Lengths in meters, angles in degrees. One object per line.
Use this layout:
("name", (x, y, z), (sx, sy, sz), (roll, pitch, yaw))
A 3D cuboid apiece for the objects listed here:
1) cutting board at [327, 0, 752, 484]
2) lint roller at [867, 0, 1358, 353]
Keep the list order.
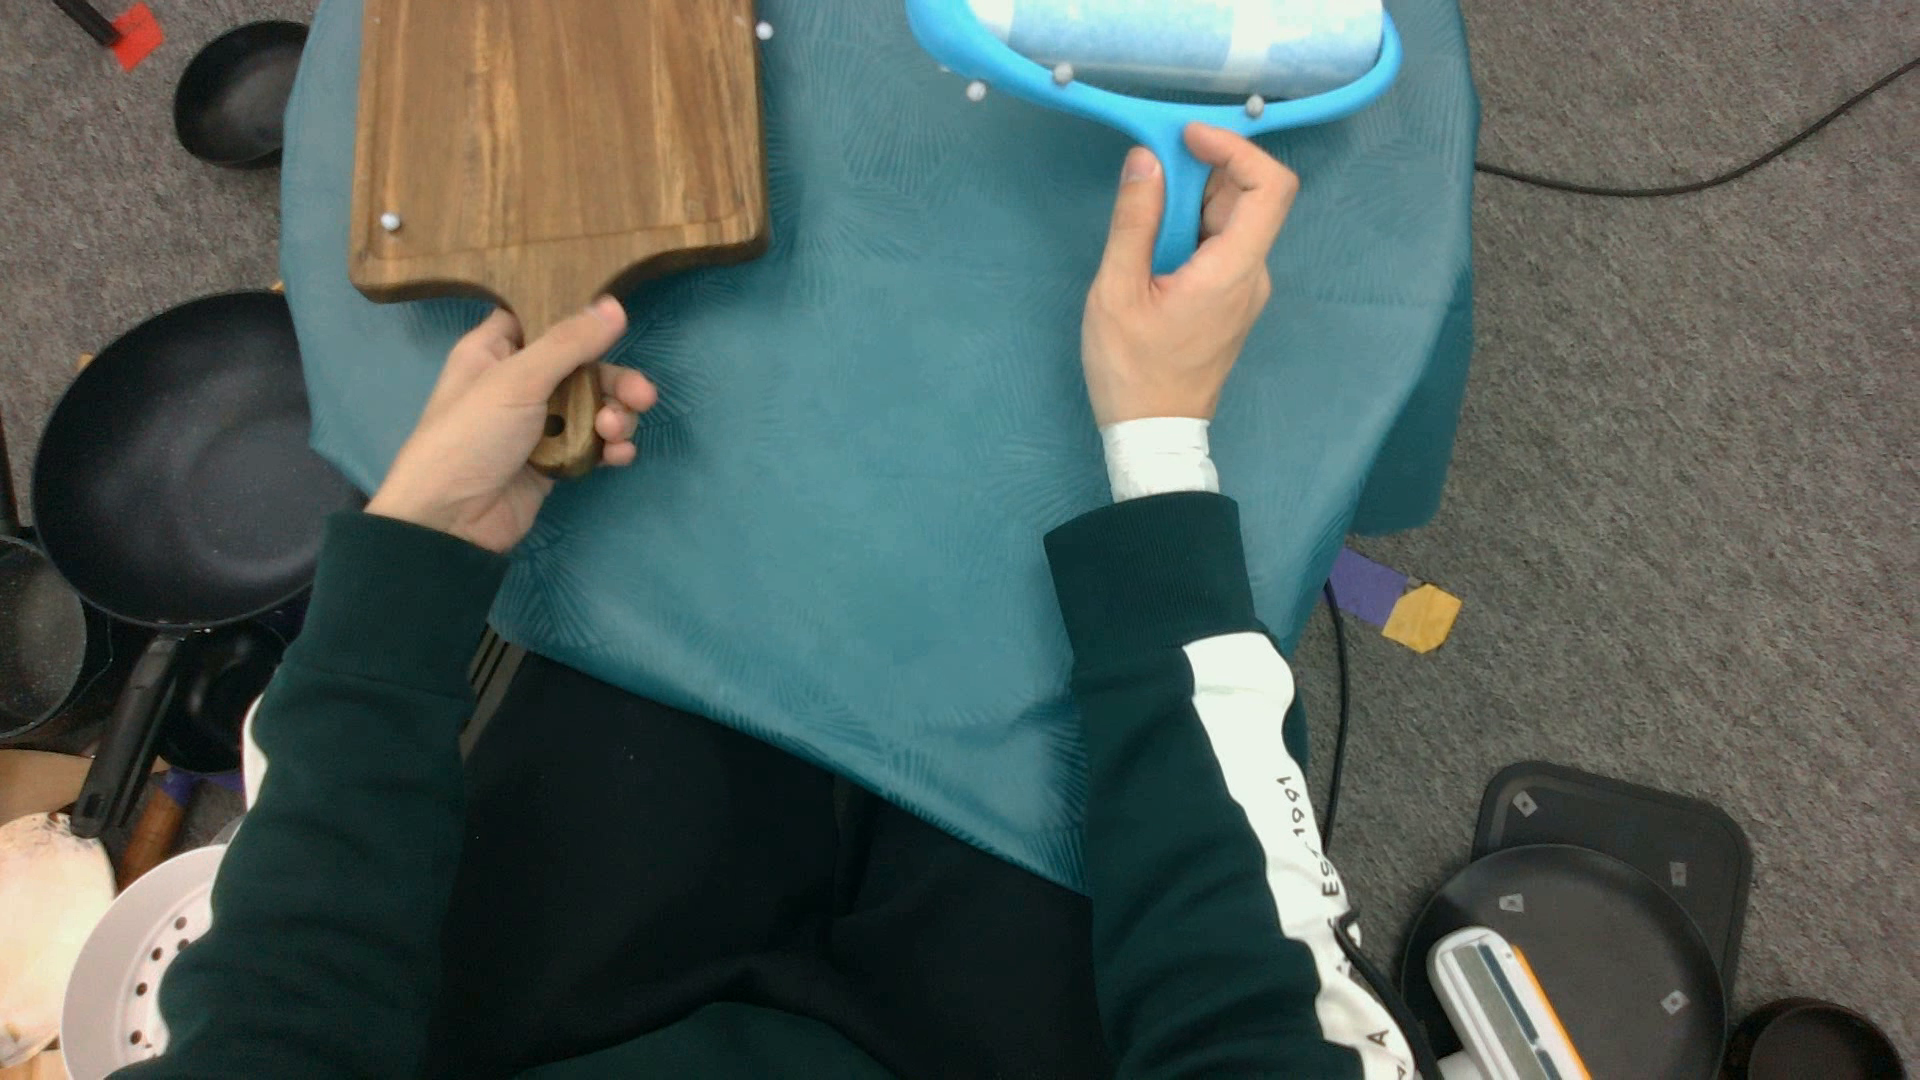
("cutting board", (-0.206, -0.192, 0.663), (0.201, 0.023, 0.353), (-9, 71, 2))
("lint roller", (0.078, -0.177, 0.614), (0.229, 0.068, 0.180), (-6, 91, -18))
